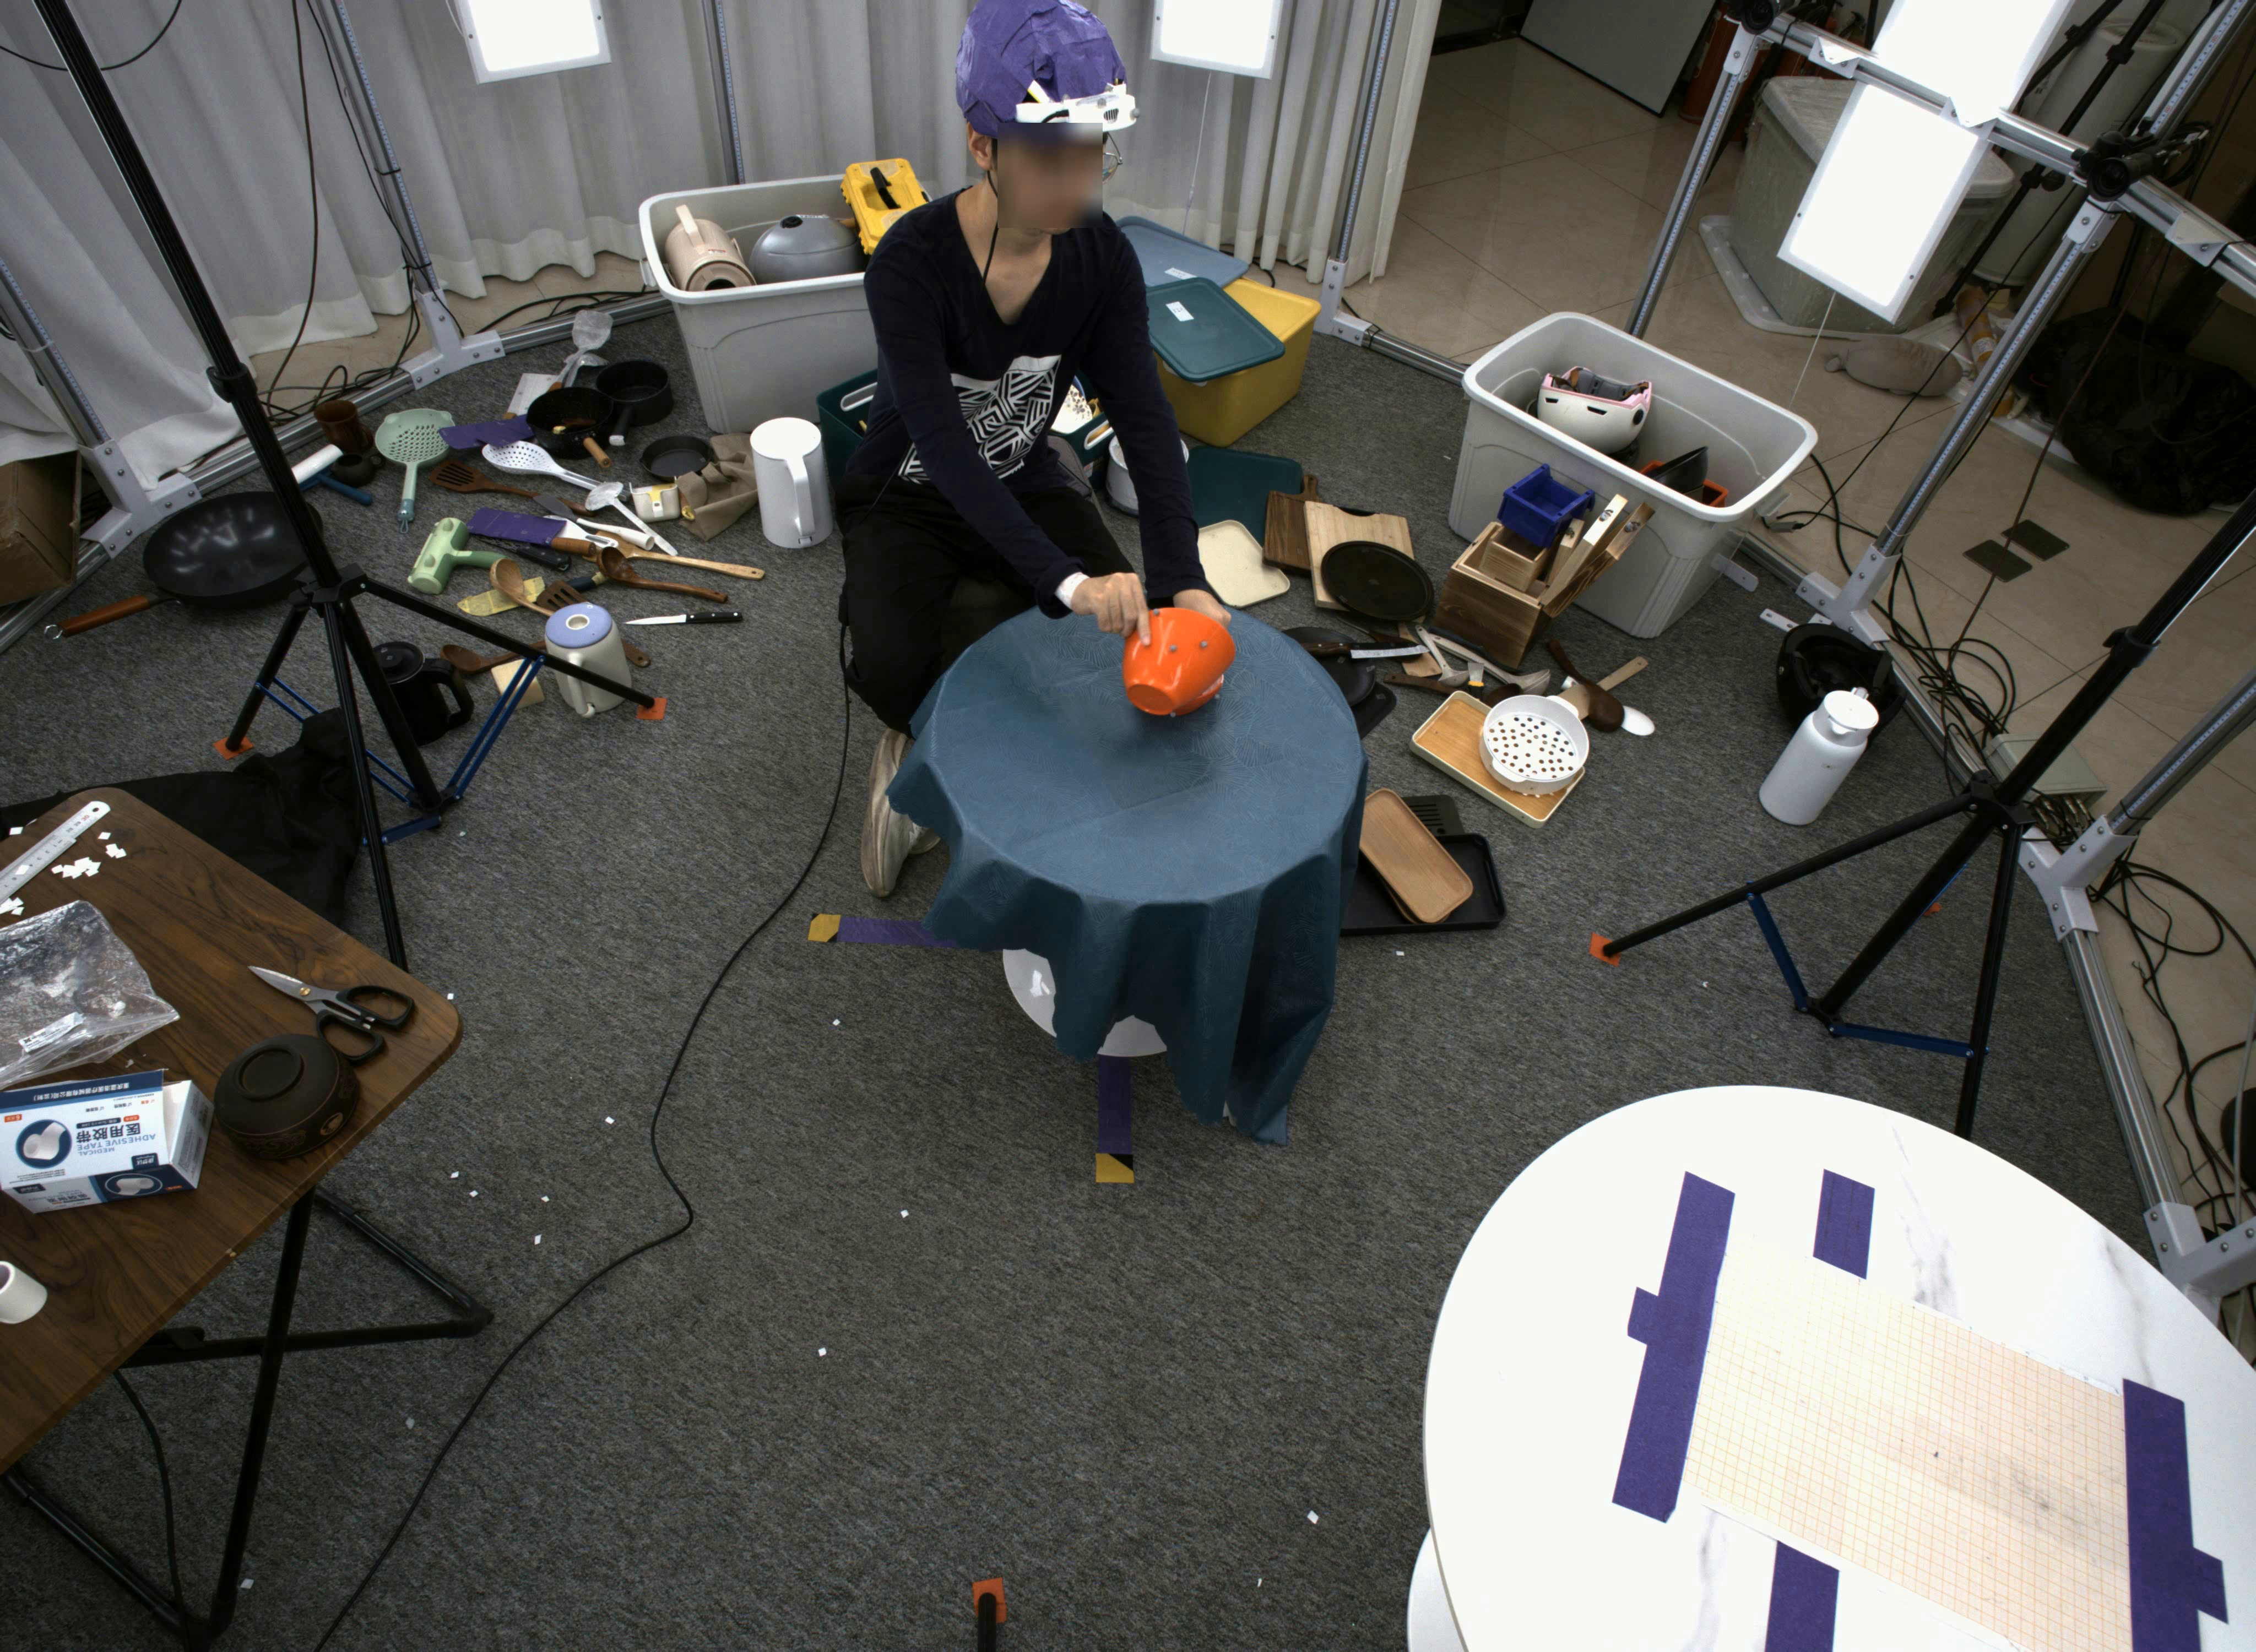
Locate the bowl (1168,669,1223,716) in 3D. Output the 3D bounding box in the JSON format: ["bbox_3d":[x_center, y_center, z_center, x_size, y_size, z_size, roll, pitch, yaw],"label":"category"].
[{"bbox_3d":[0.074,-0.201,1.815,0.119,0.050,0.122,1,49,-1],"label":"bowl"}]

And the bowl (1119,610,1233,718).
[{"bbox_3d":[0.052,-0.204,1.685,0.148,0.145,0.106,17,64,10],"label":"bowl"}]
